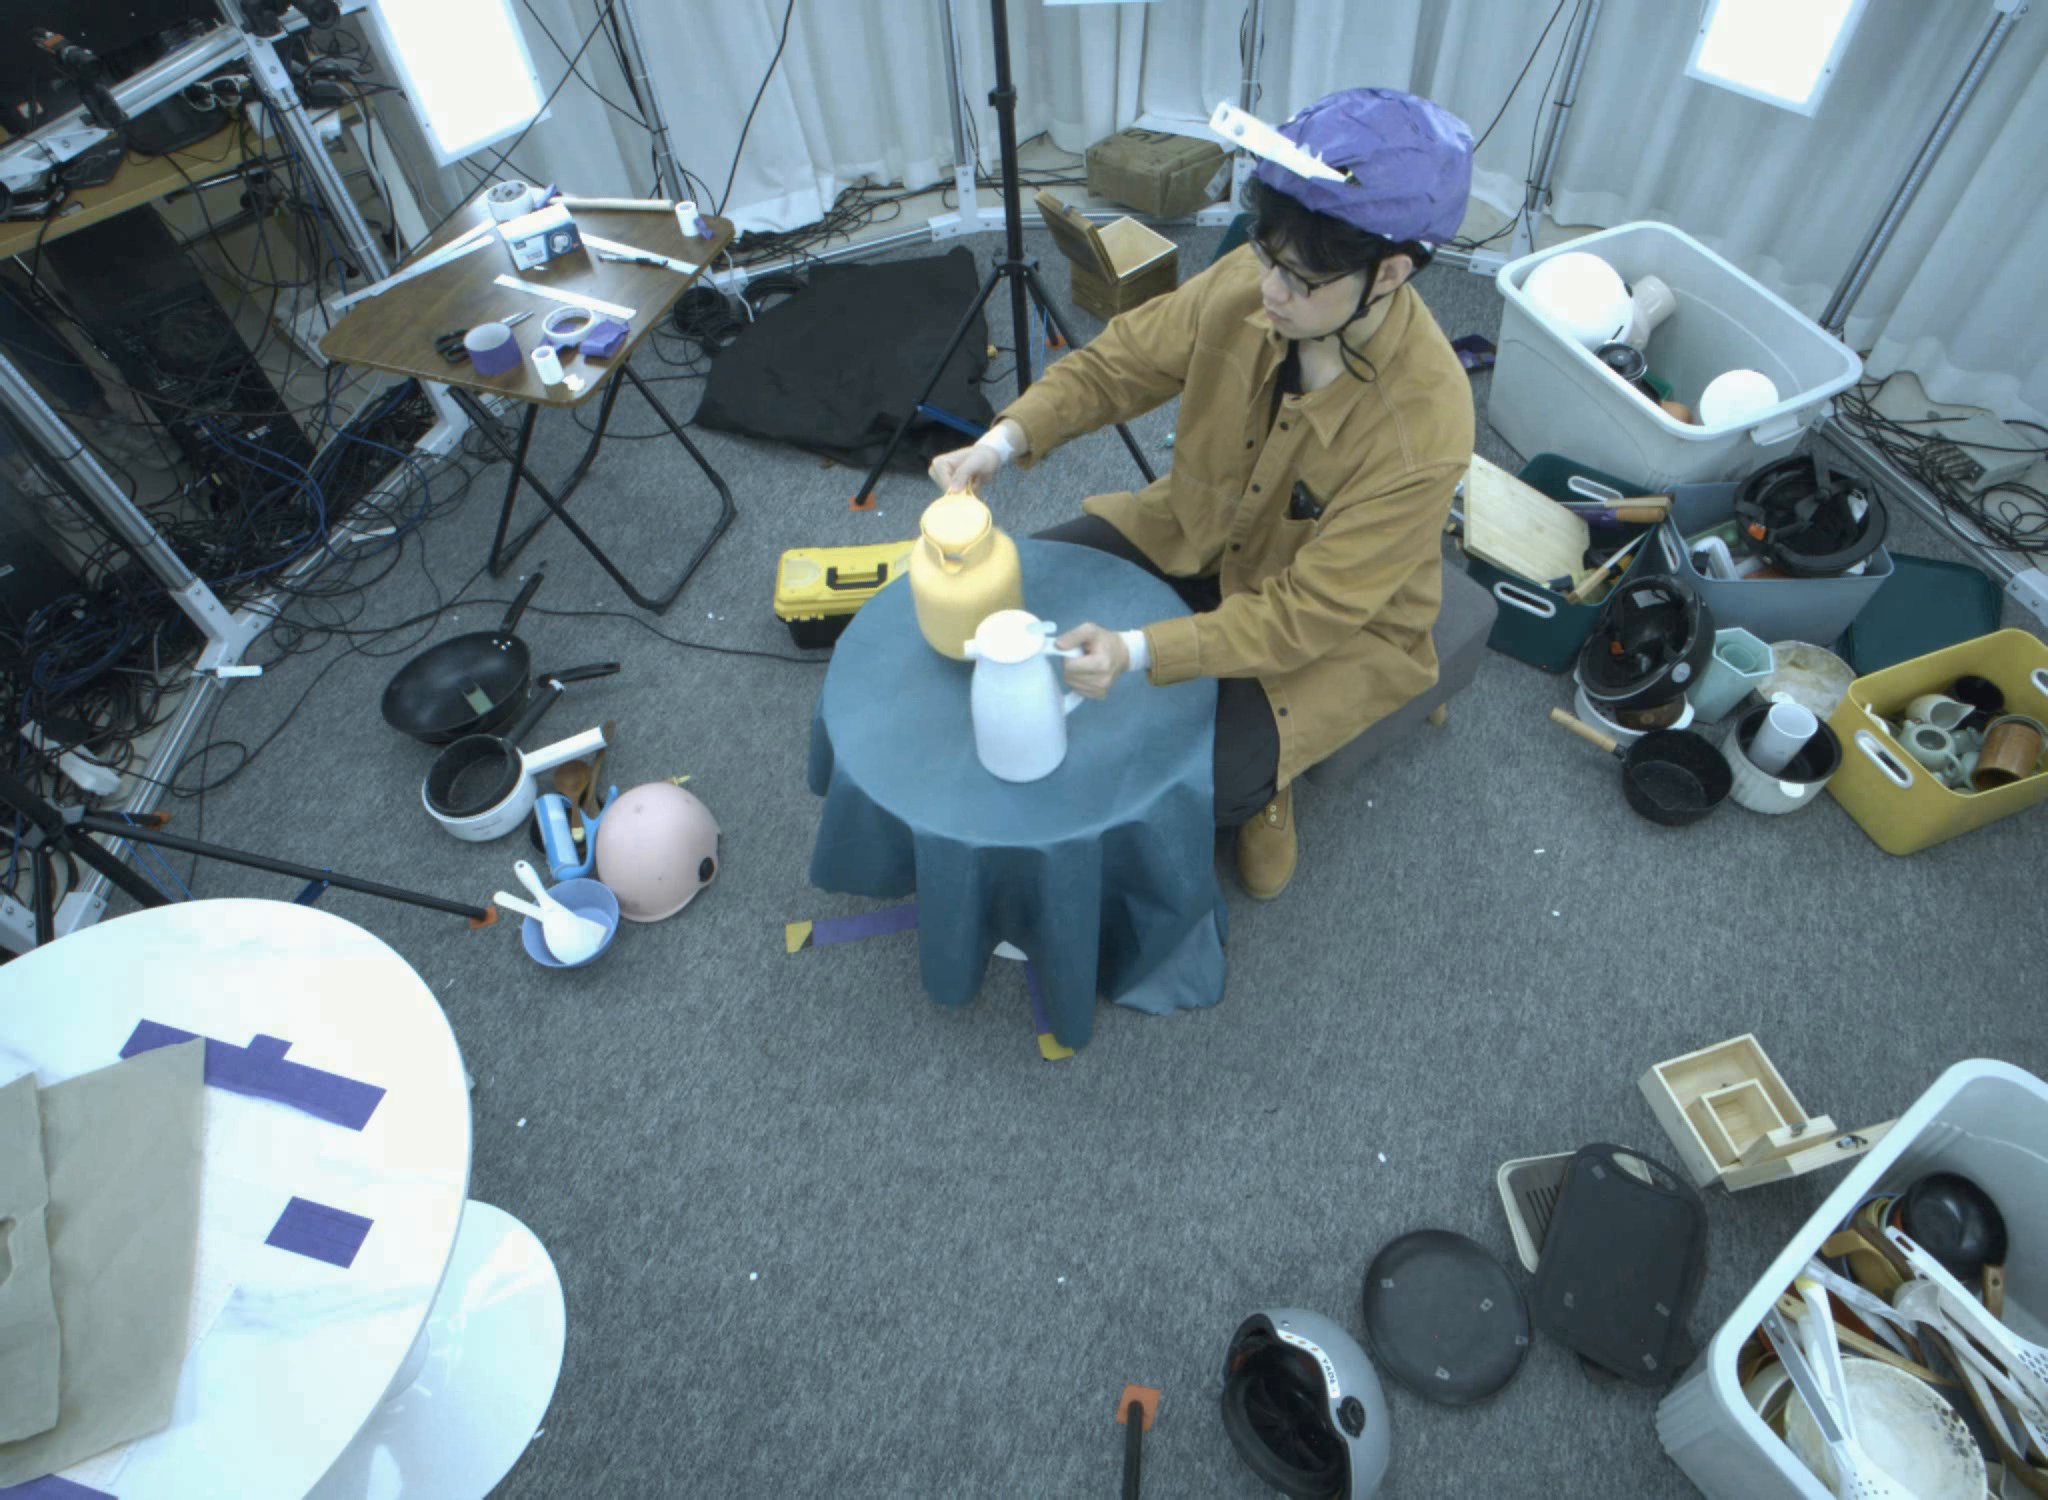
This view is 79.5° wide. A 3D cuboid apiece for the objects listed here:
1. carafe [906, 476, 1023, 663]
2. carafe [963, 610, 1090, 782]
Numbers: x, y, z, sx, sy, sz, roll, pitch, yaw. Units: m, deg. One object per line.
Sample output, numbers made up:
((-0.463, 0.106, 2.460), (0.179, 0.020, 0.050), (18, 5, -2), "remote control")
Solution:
((-0.086, -0.267, 1.772), (0.163, 0.263, 0.201), (3, 62, 3), "carafe")
((0.007, -0.083, 1.688), (0.168, 0.251, 0.131), (-6, 54, -2), "carafe")
